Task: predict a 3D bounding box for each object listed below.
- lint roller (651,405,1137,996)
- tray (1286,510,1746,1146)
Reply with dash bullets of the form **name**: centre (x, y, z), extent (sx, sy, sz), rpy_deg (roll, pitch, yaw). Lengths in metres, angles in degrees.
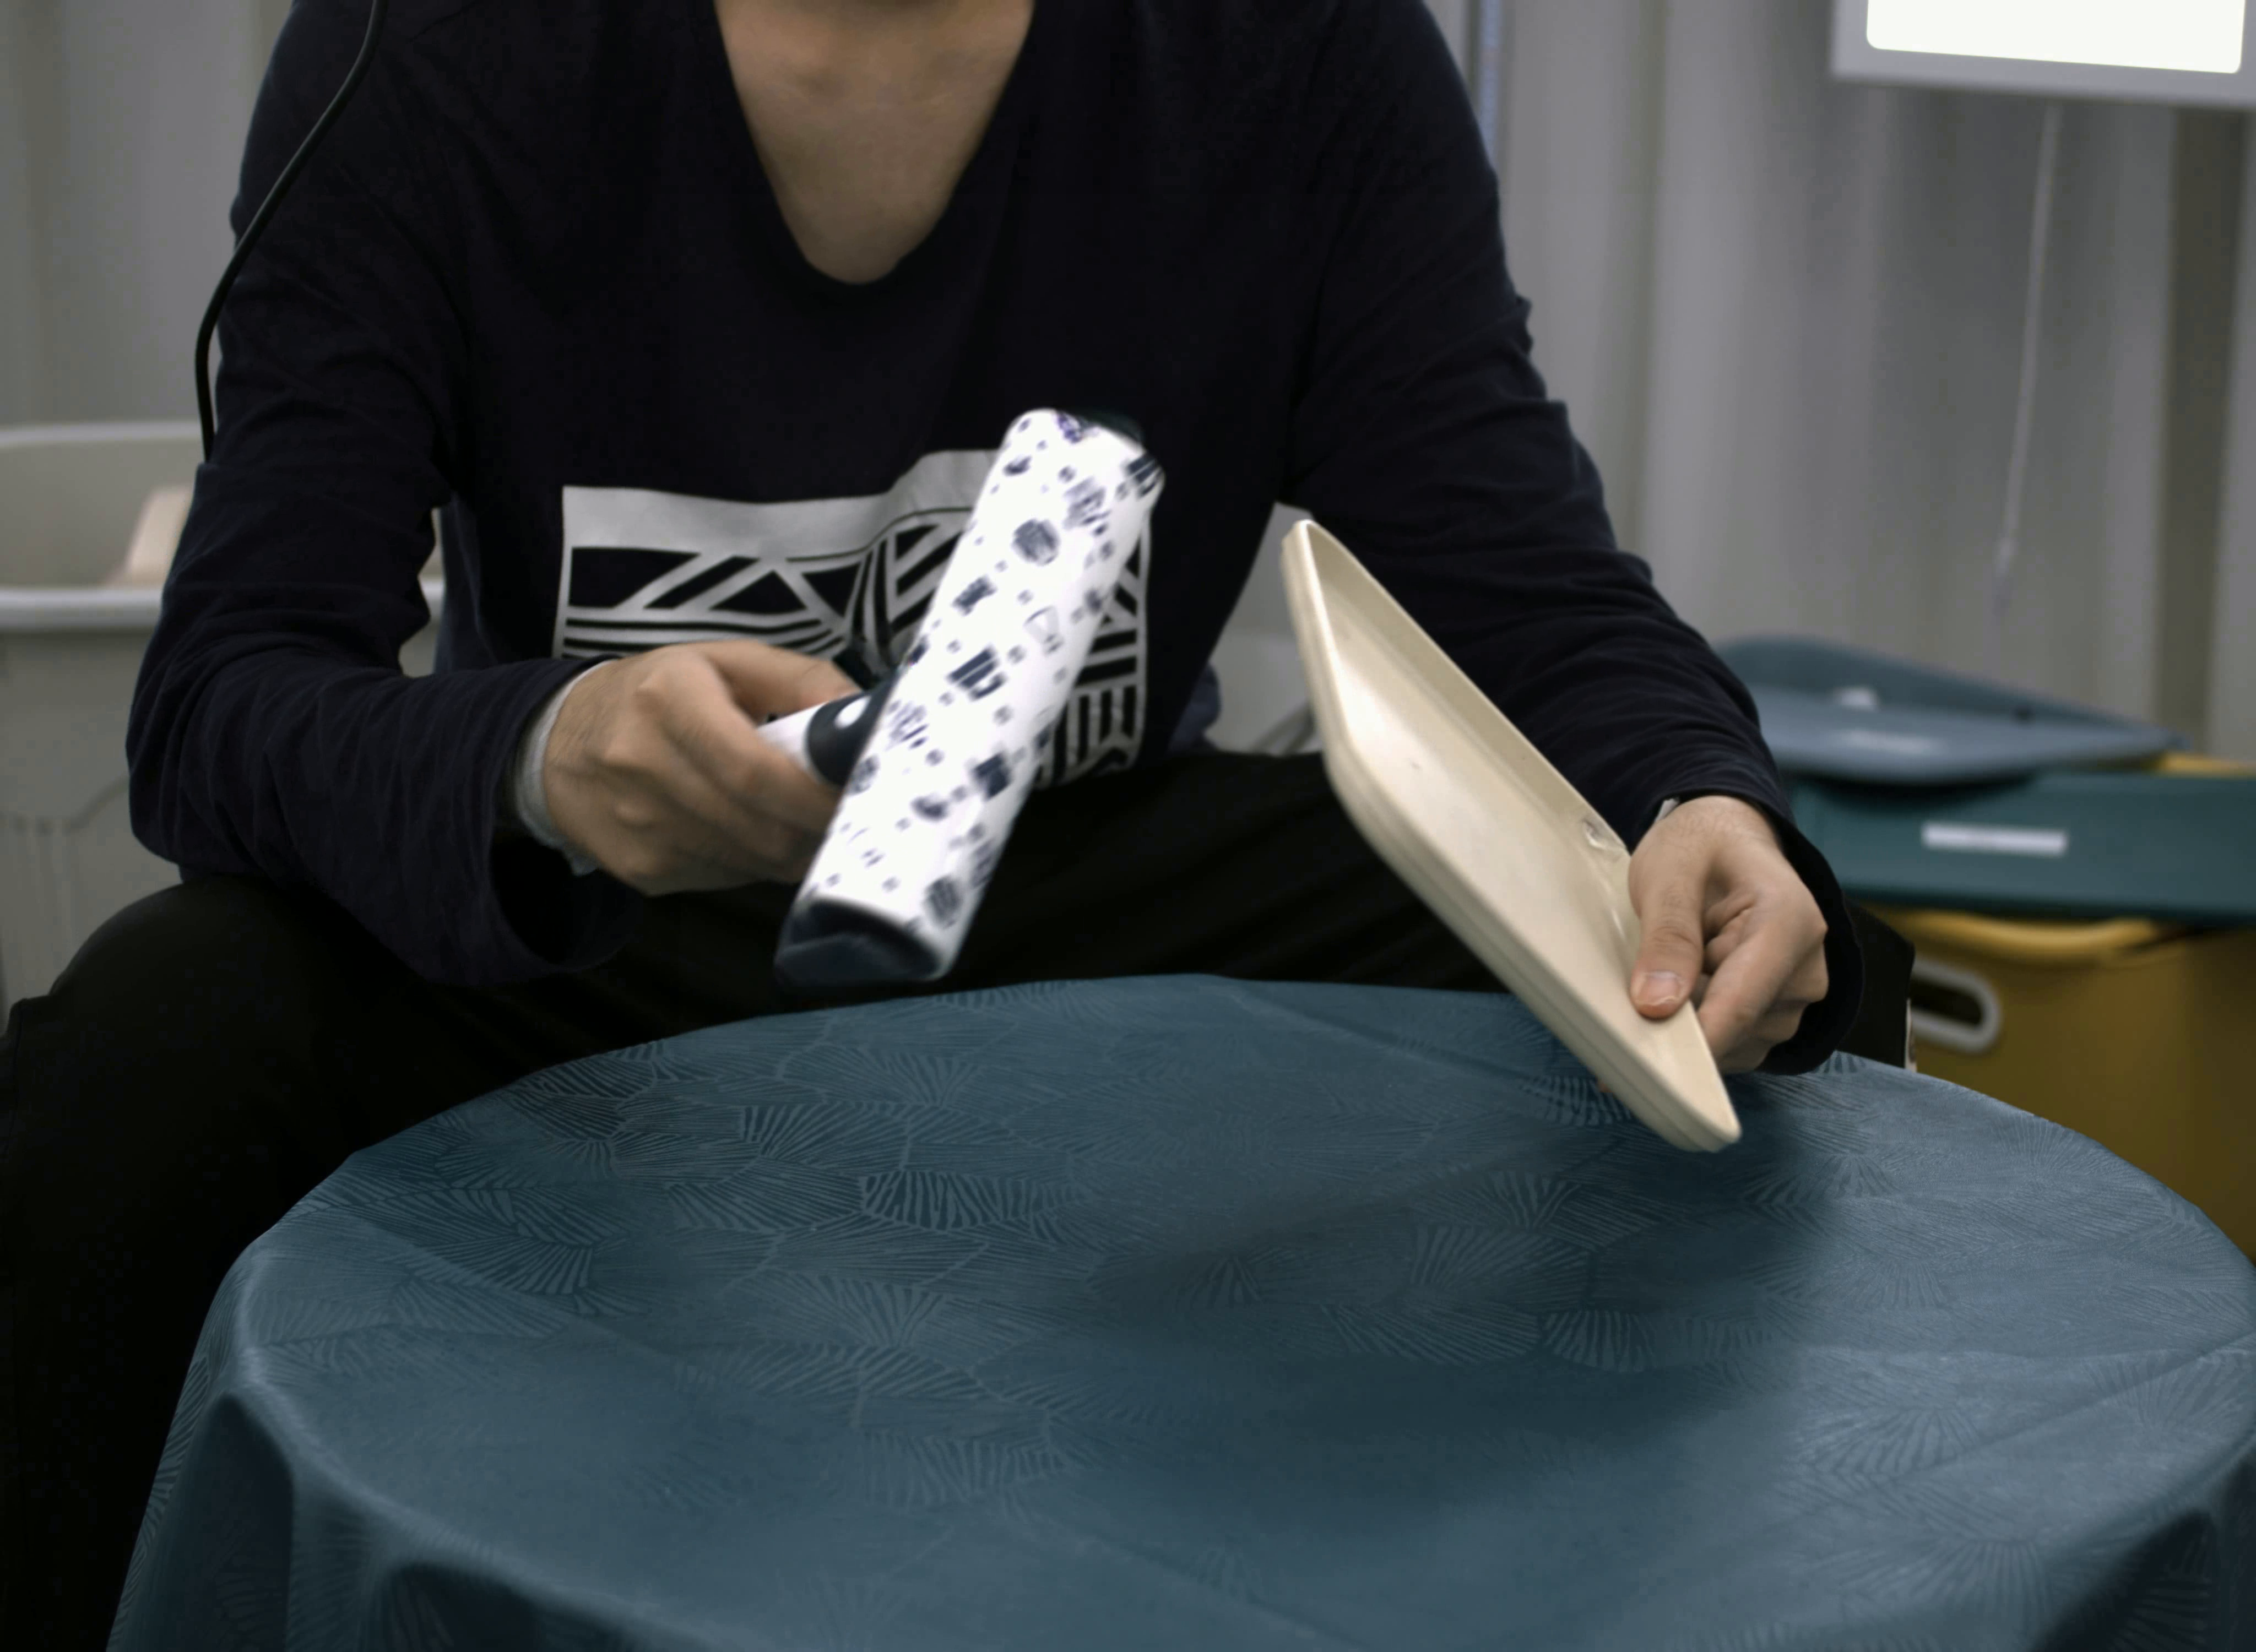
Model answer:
- **lint roller**: centre (-0.093, -0.021, 1.557), extent (0.051, 0.176, 0.245), rpy_deg (30, -22, -21)
- **tray**: centre (0.110, -0.001, 1.560), extent (0.017, 0.173, 0.238), rpy_deg (-40, 19, 12)
